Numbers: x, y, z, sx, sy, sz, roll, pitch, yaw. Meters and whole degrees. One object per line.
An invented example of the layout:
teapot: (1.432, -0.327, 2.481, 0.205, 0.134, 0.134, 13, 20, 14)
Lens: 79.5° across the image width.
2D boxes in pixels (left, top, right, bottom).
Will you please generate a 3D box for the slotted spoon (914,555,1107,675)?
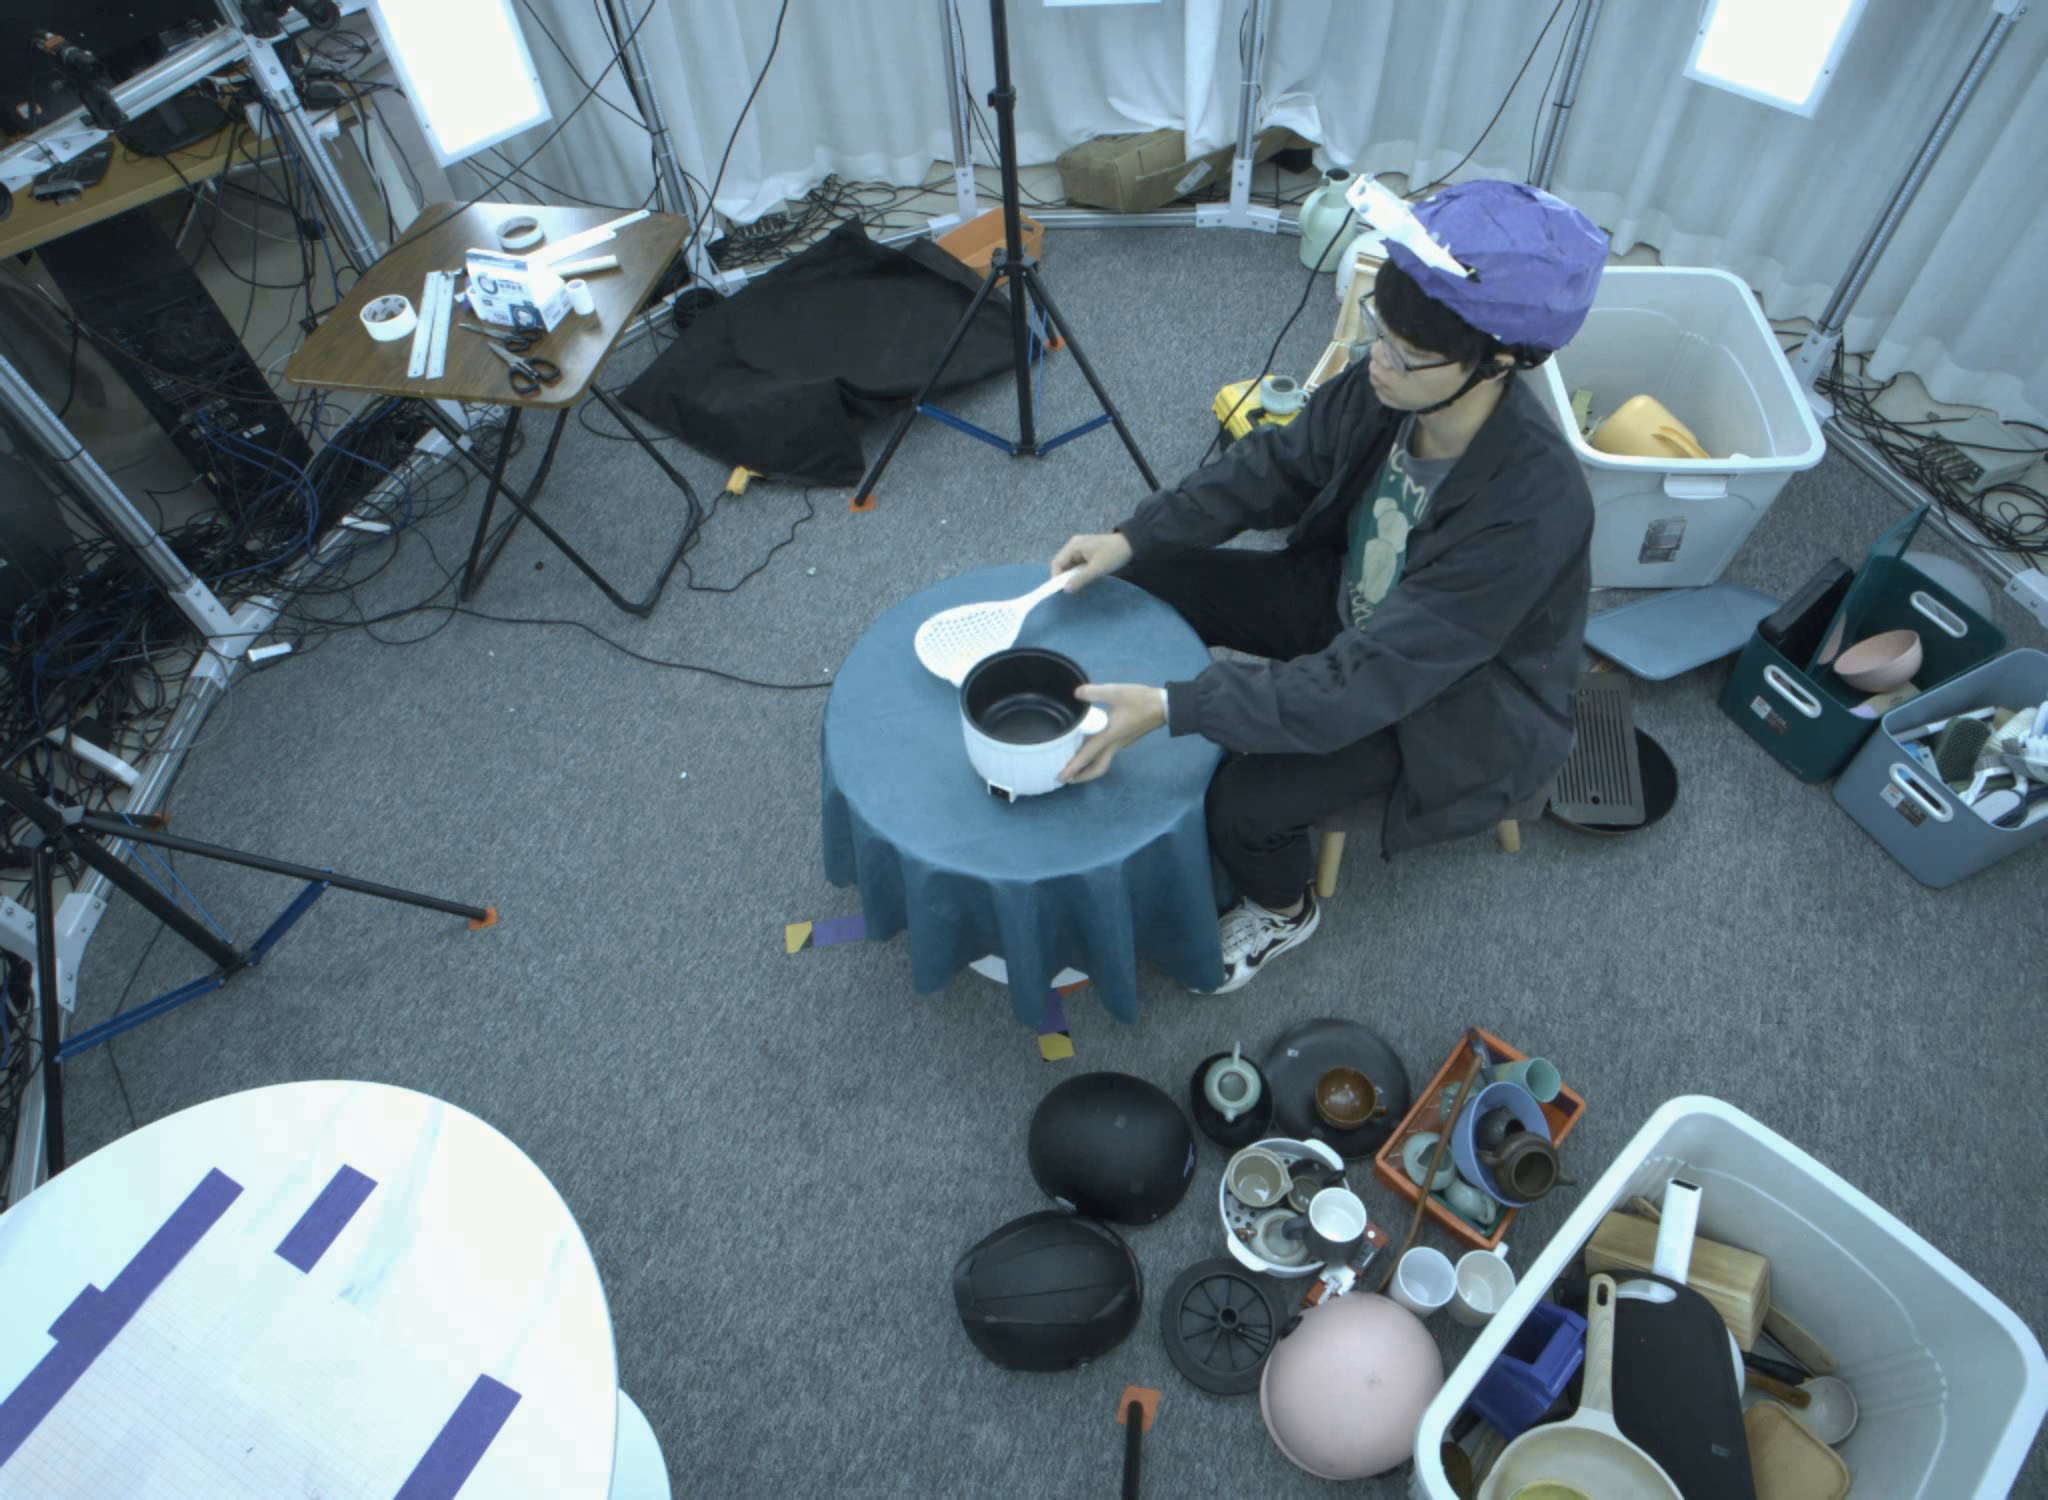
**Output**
slotted spoon: (-0.006, -0.218, 1.879, 0.350, 0.051, 0.134, -35, 62, -16)

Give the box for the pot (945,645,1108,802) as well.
pot: (0.006, -0.039, 1.705, 0.237, 0.144, 0.191, 21, 57, 16)
